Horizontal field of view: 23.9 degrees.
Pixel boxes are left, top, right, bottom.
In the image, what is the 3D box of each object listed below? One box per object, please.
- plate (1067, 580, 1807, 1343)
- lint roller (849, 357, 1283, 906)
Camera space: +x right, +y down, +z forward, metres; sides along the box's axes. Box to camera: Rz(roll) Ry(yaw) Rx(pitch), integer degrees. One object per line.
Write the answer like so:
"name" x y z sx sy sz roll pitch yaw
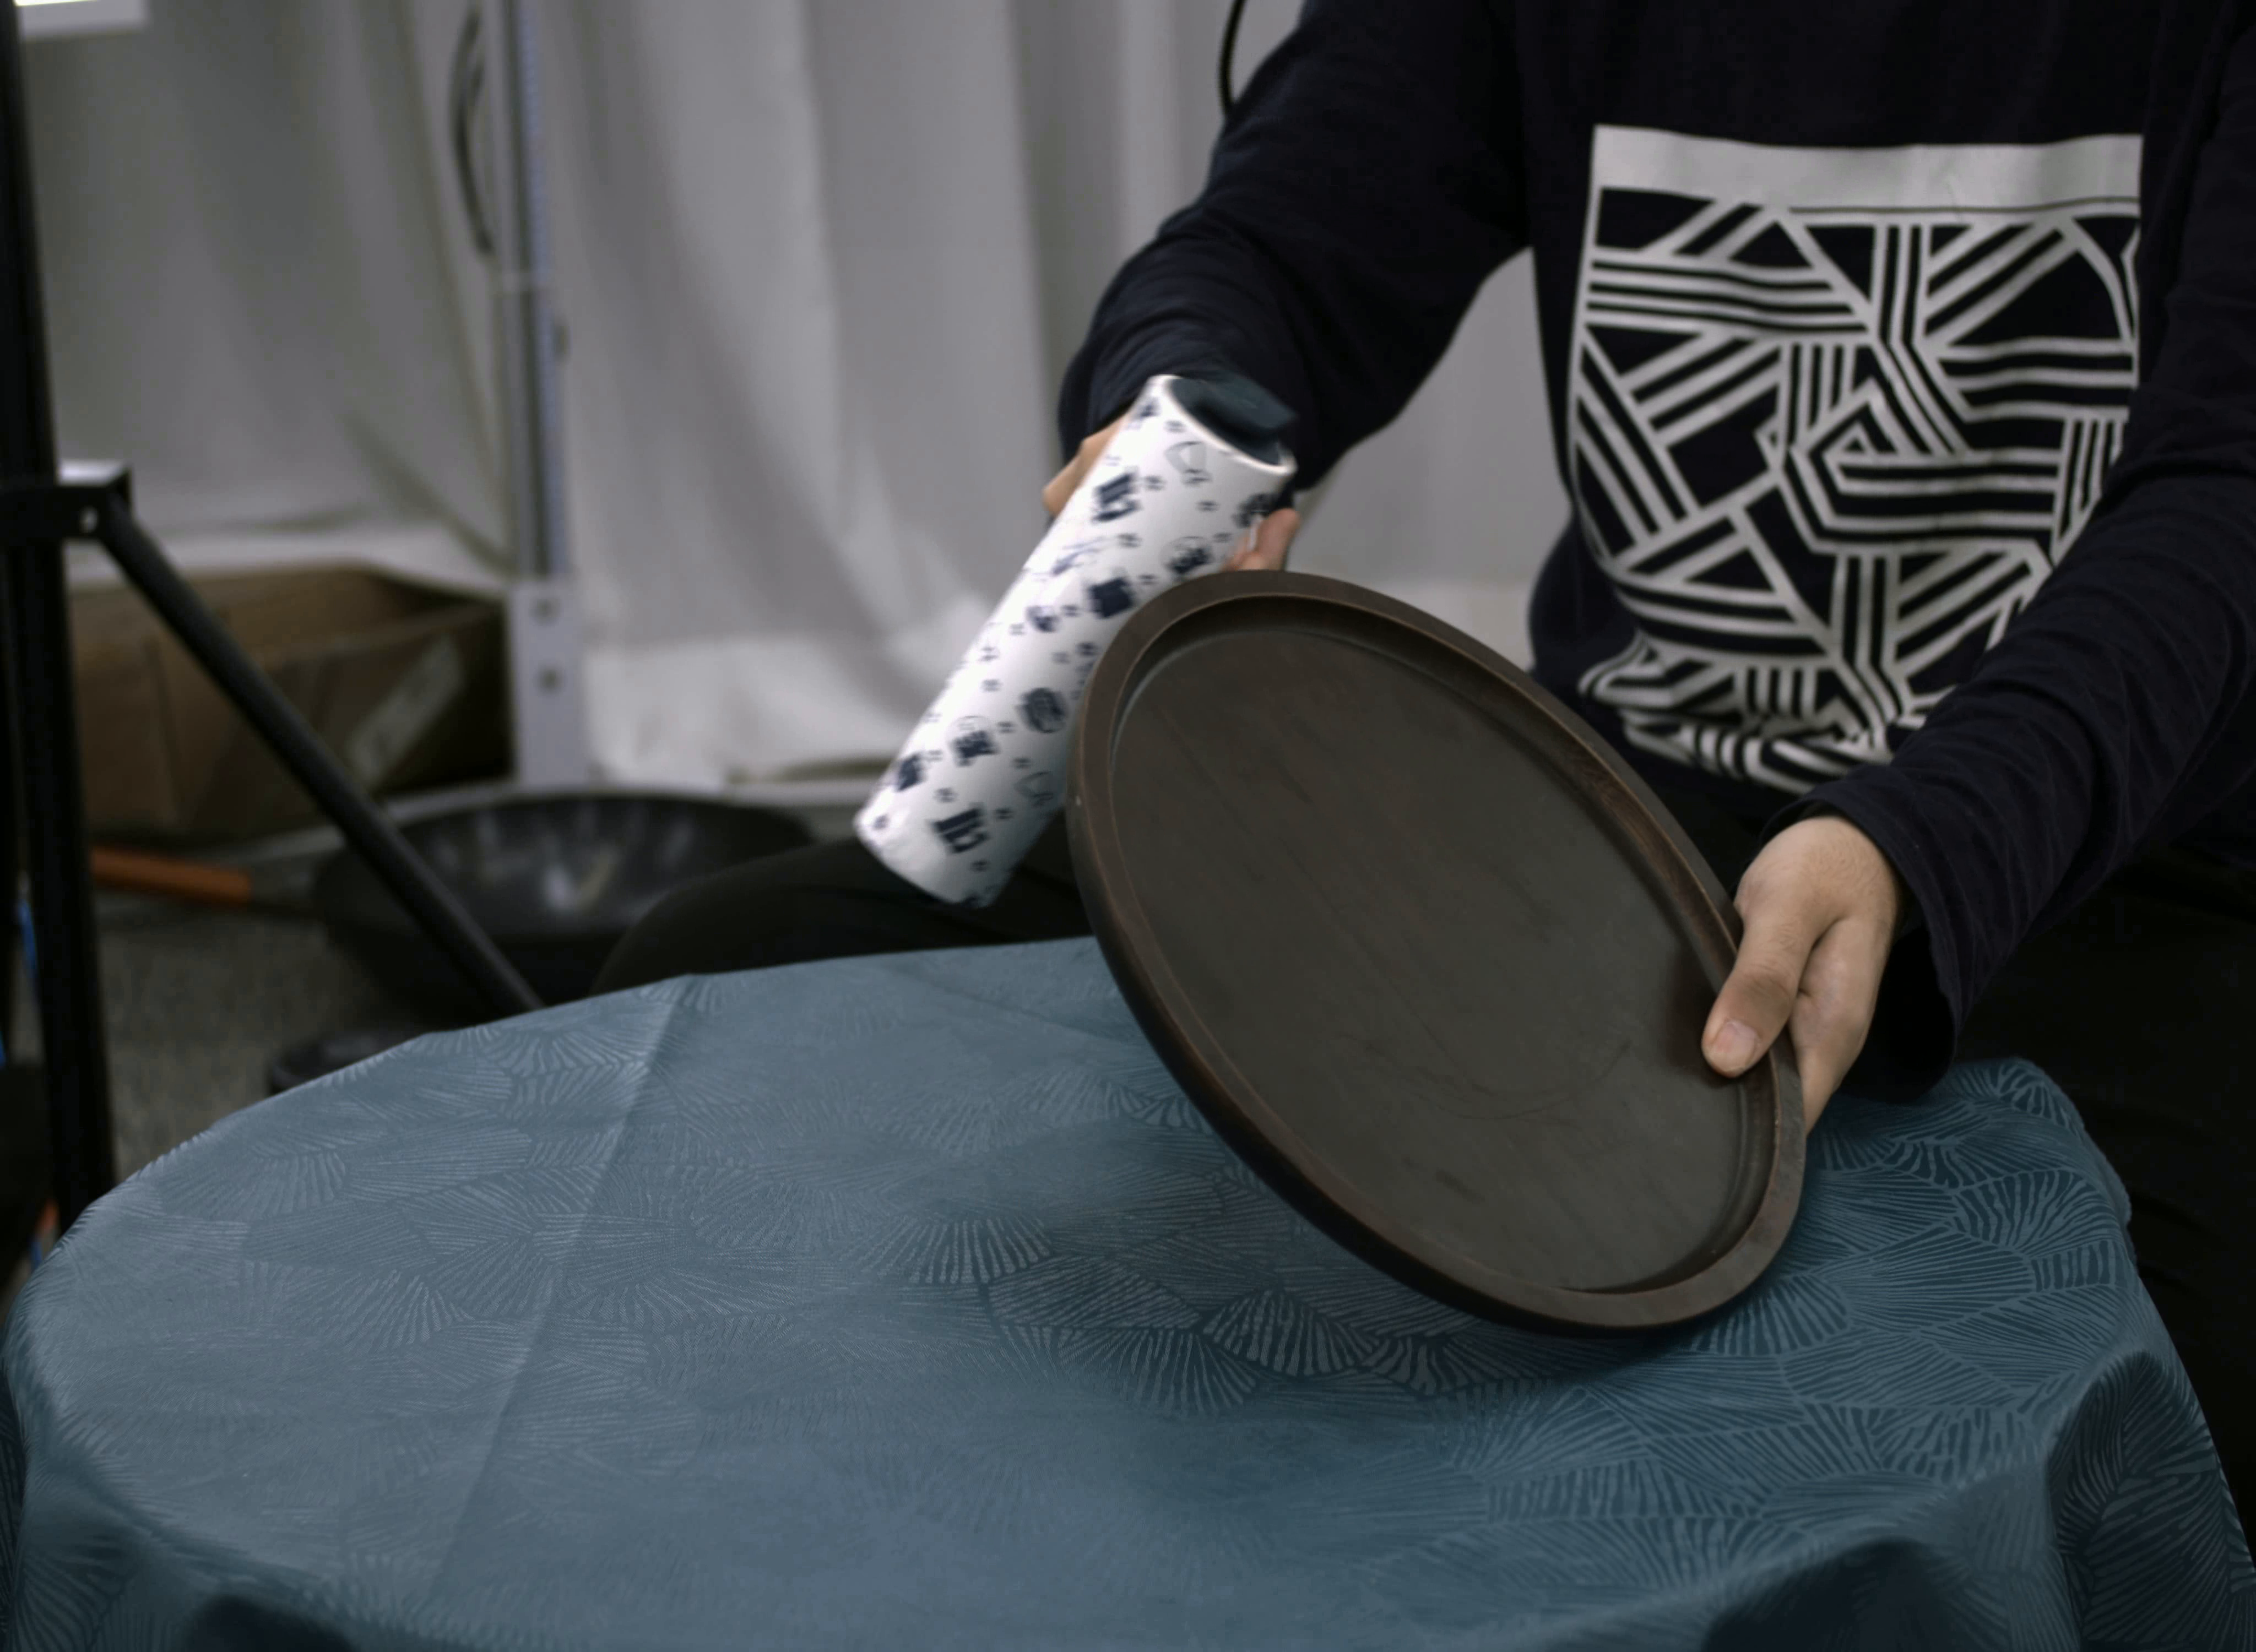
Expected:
"plate" 0.086 0.037 1.471 0.029 0.257 0.250 -46 -13 35
"lint roller" 0.002 -0.073 1.618 0.050 0.177 0.245 35 17 4
